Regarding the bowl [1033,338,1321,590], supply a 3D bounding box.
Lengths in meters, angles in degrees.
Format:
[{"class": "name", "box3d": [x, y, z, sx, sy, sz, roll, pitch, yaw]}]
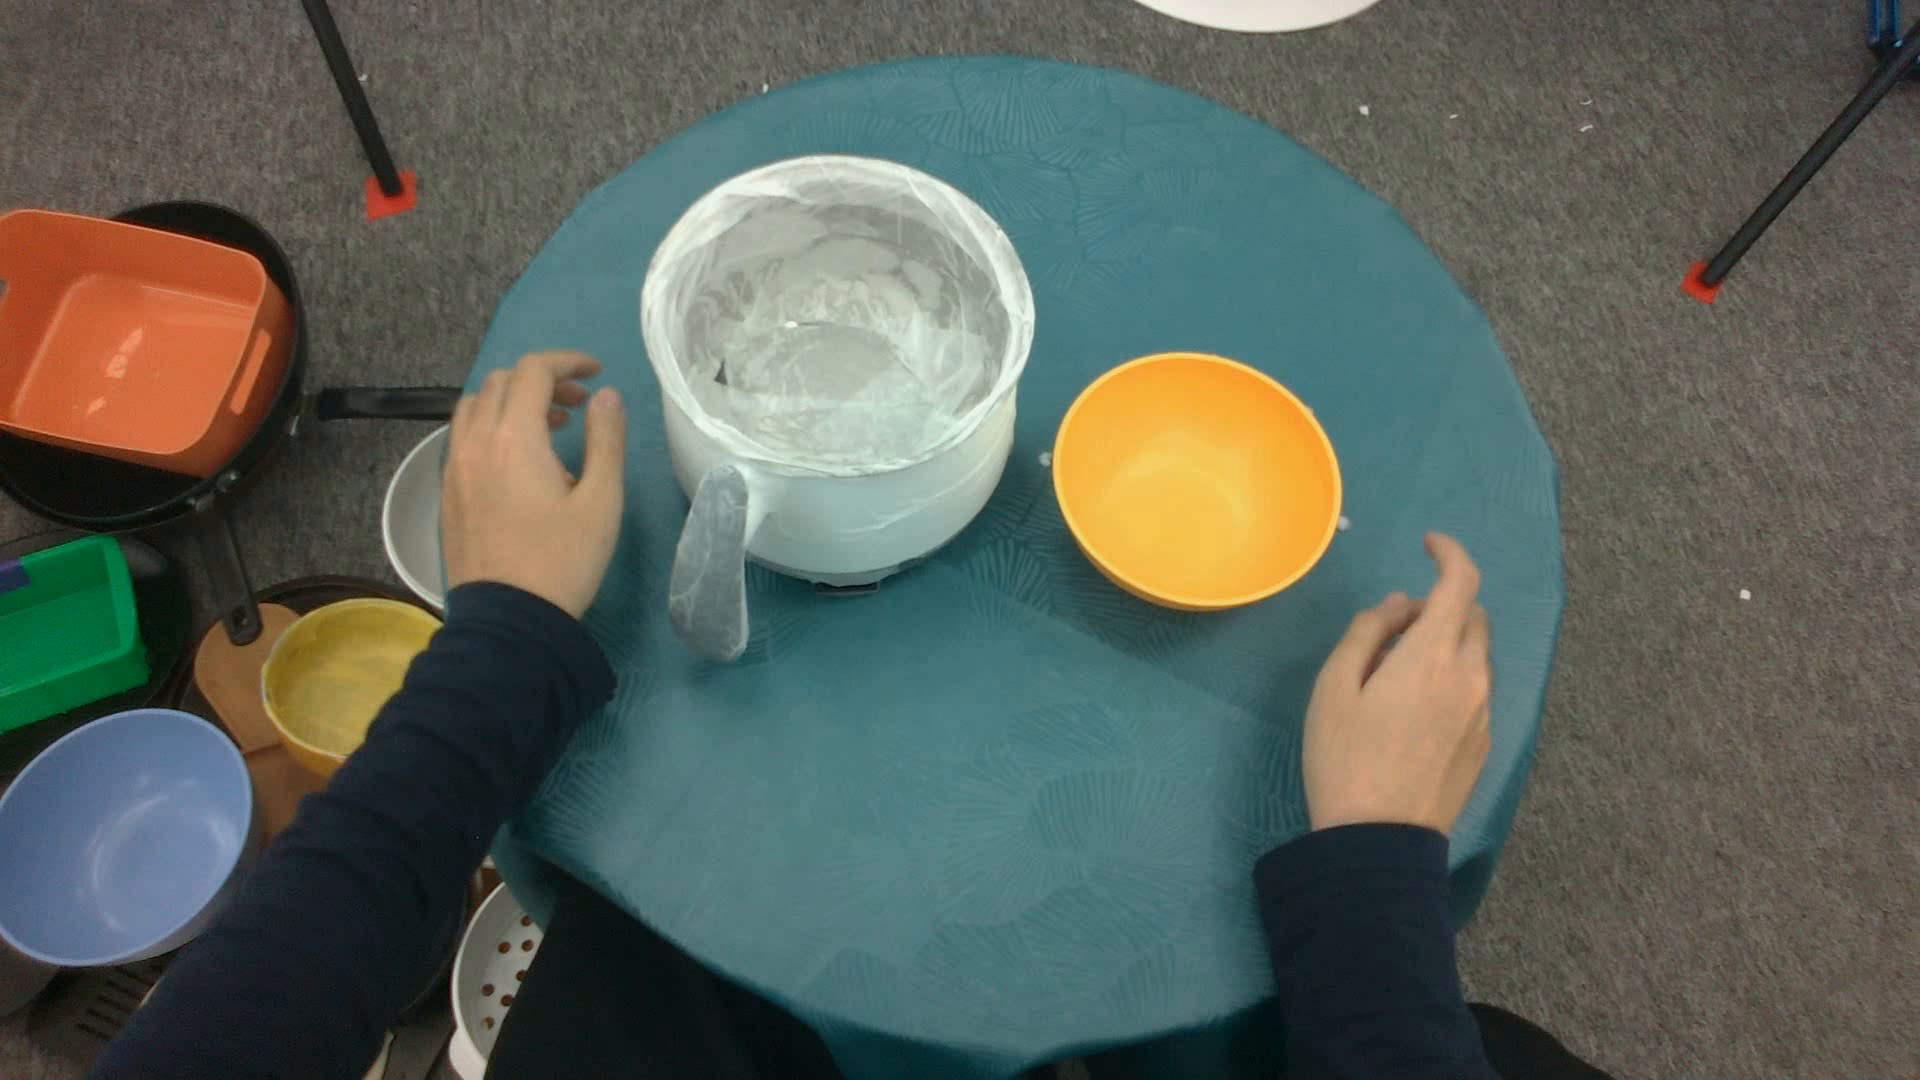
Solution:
[{"class": "bowl", "box3d": [0.106, -0.030, 0.709, 0.145, 0.060, 0.146, 2, 61, -4]}]

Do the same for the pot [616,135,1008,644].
[{"class": "pot", "box3d": [-0.080, -0.065, 0.667, 0.178, 0.136, 0.235, 22, 63, 8]}]
